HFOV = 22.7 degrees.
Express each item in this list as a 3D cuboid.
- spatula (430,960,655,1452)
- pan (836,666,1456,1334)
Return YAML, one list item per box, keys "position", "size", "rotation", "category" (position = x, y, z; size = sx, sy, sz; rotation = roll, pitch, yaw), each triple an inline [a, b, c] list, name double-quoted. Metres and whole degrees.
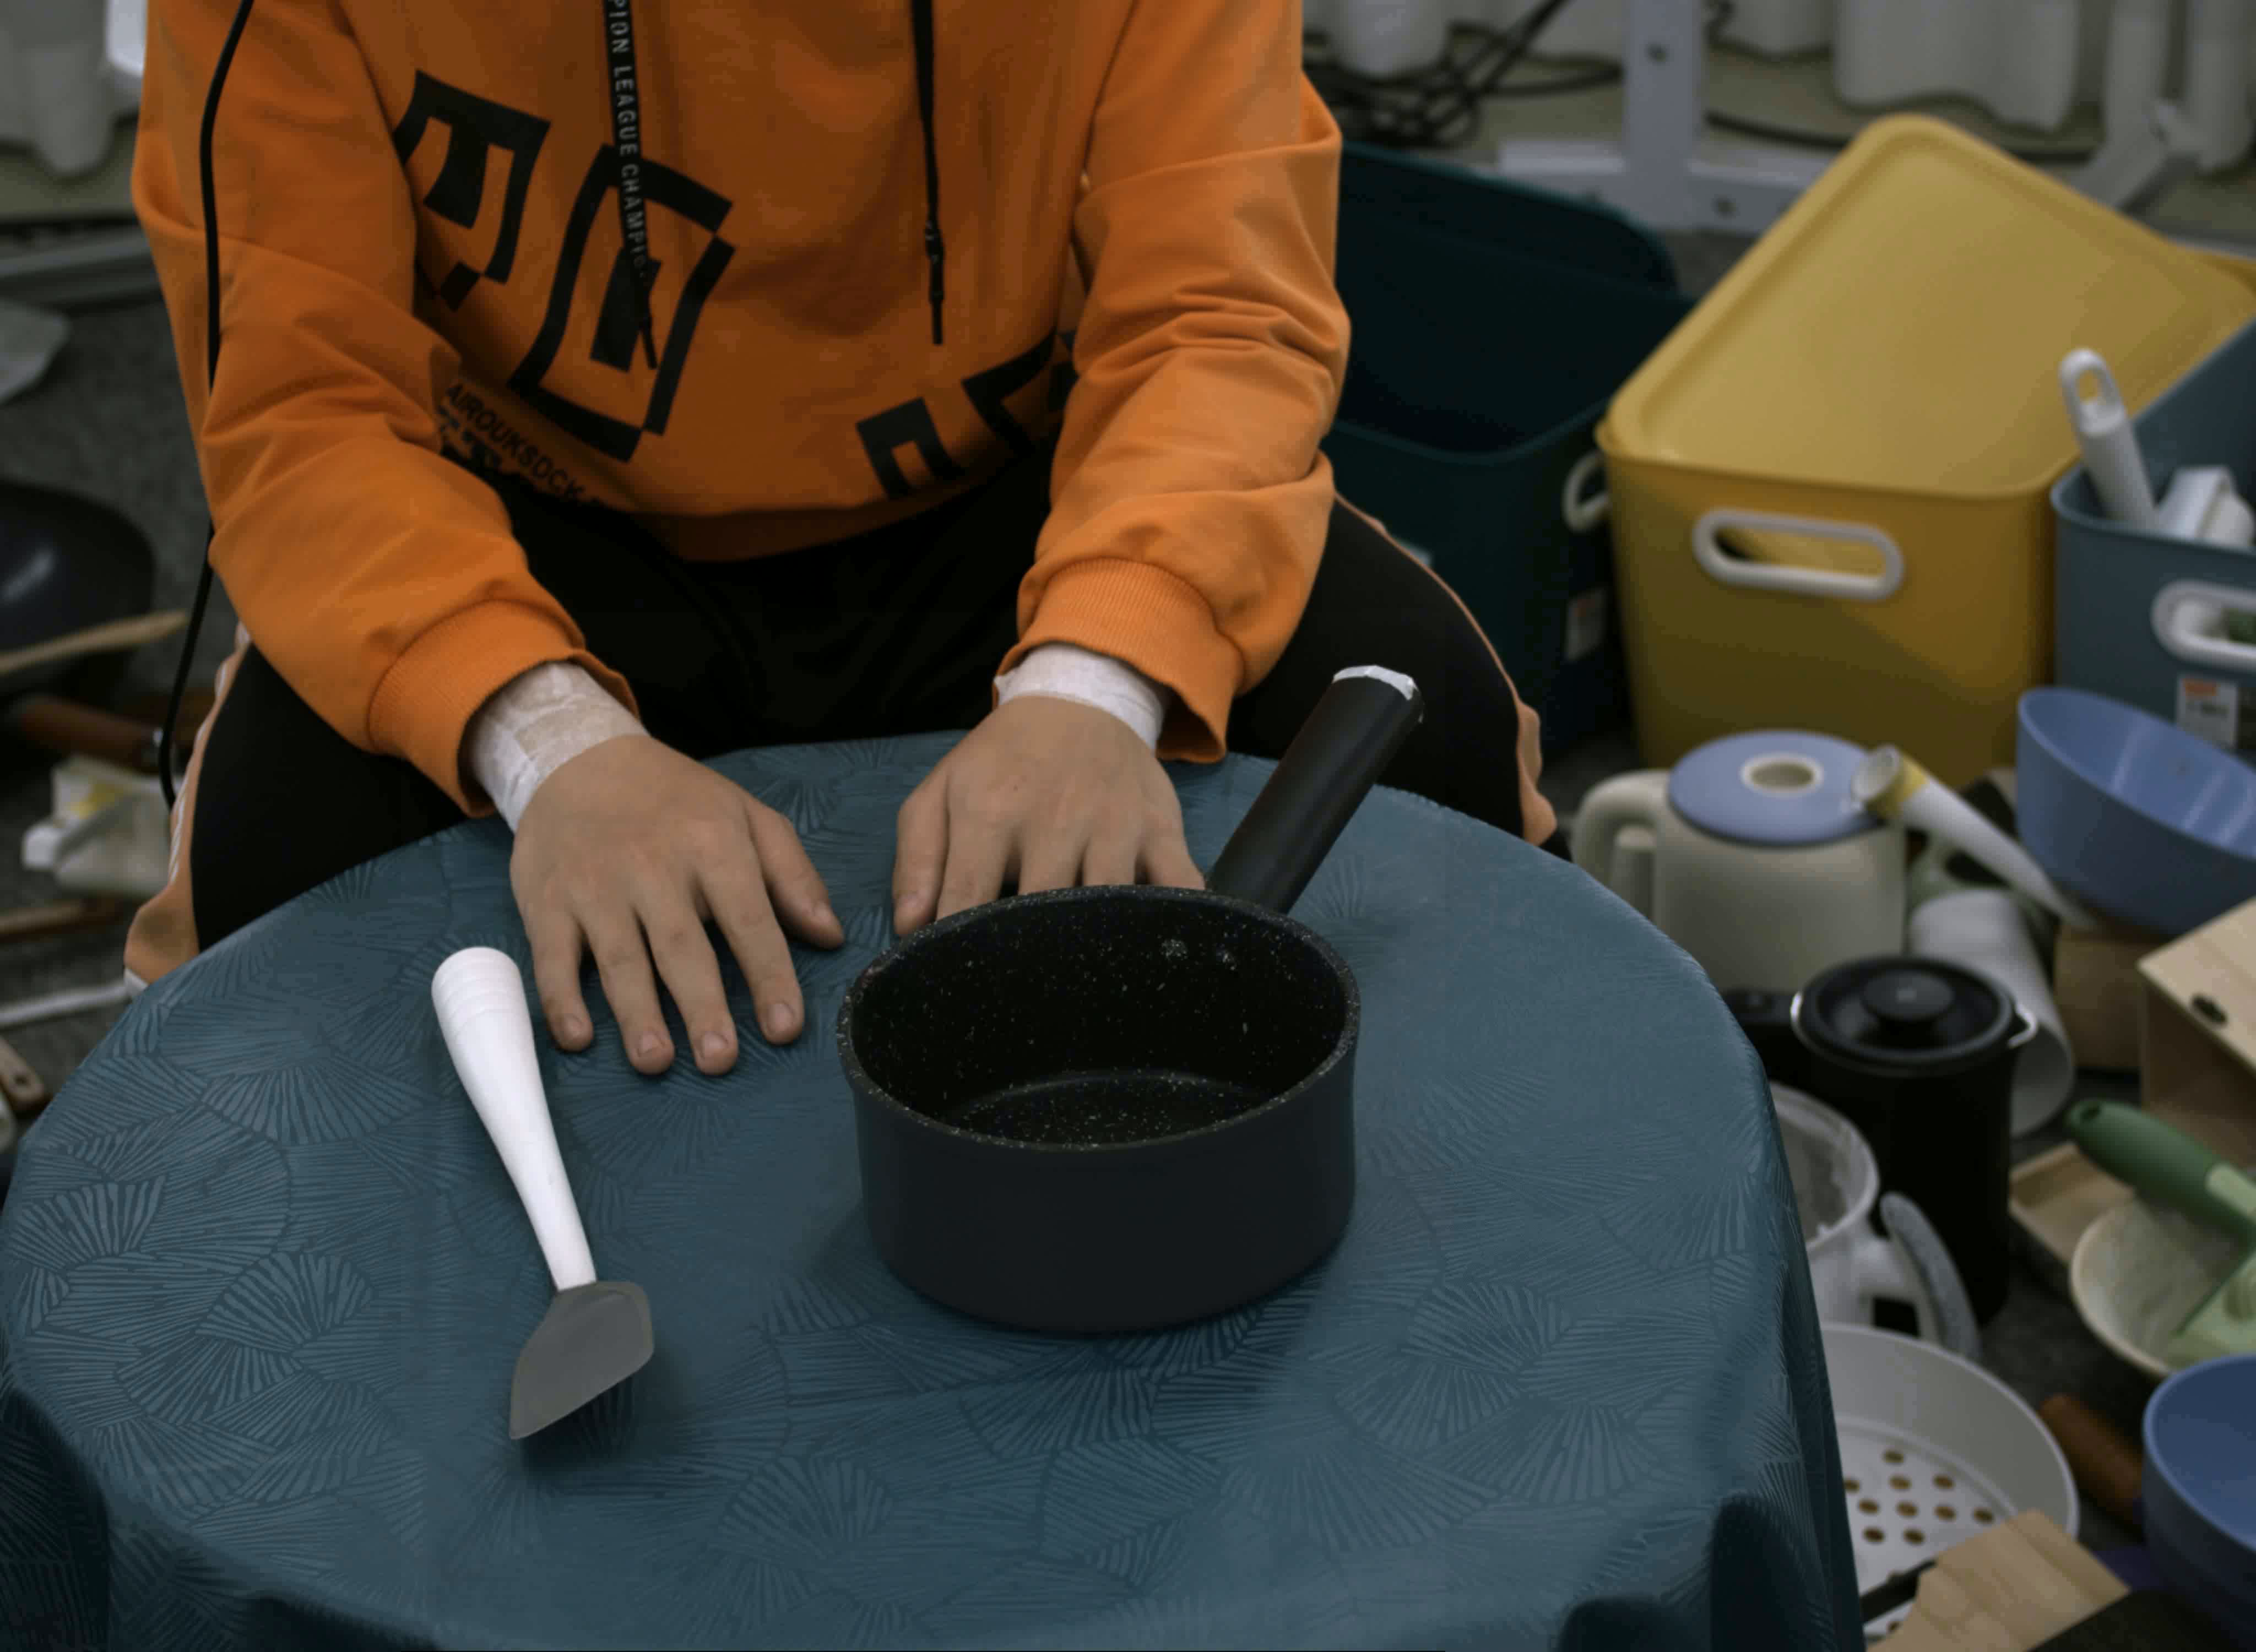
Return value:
- position: [-0.195, 0.123, 1.845]
  size: [0.058, 0.032, 0.291]
  rotation: [-29, 29, 0]
  category: "spatula"
- position: [0.028, 0.054, 1.898]
  size: [0.171, 0.085, 0.334]
  rotation: [12, 32, 24]
  category: "pan"
